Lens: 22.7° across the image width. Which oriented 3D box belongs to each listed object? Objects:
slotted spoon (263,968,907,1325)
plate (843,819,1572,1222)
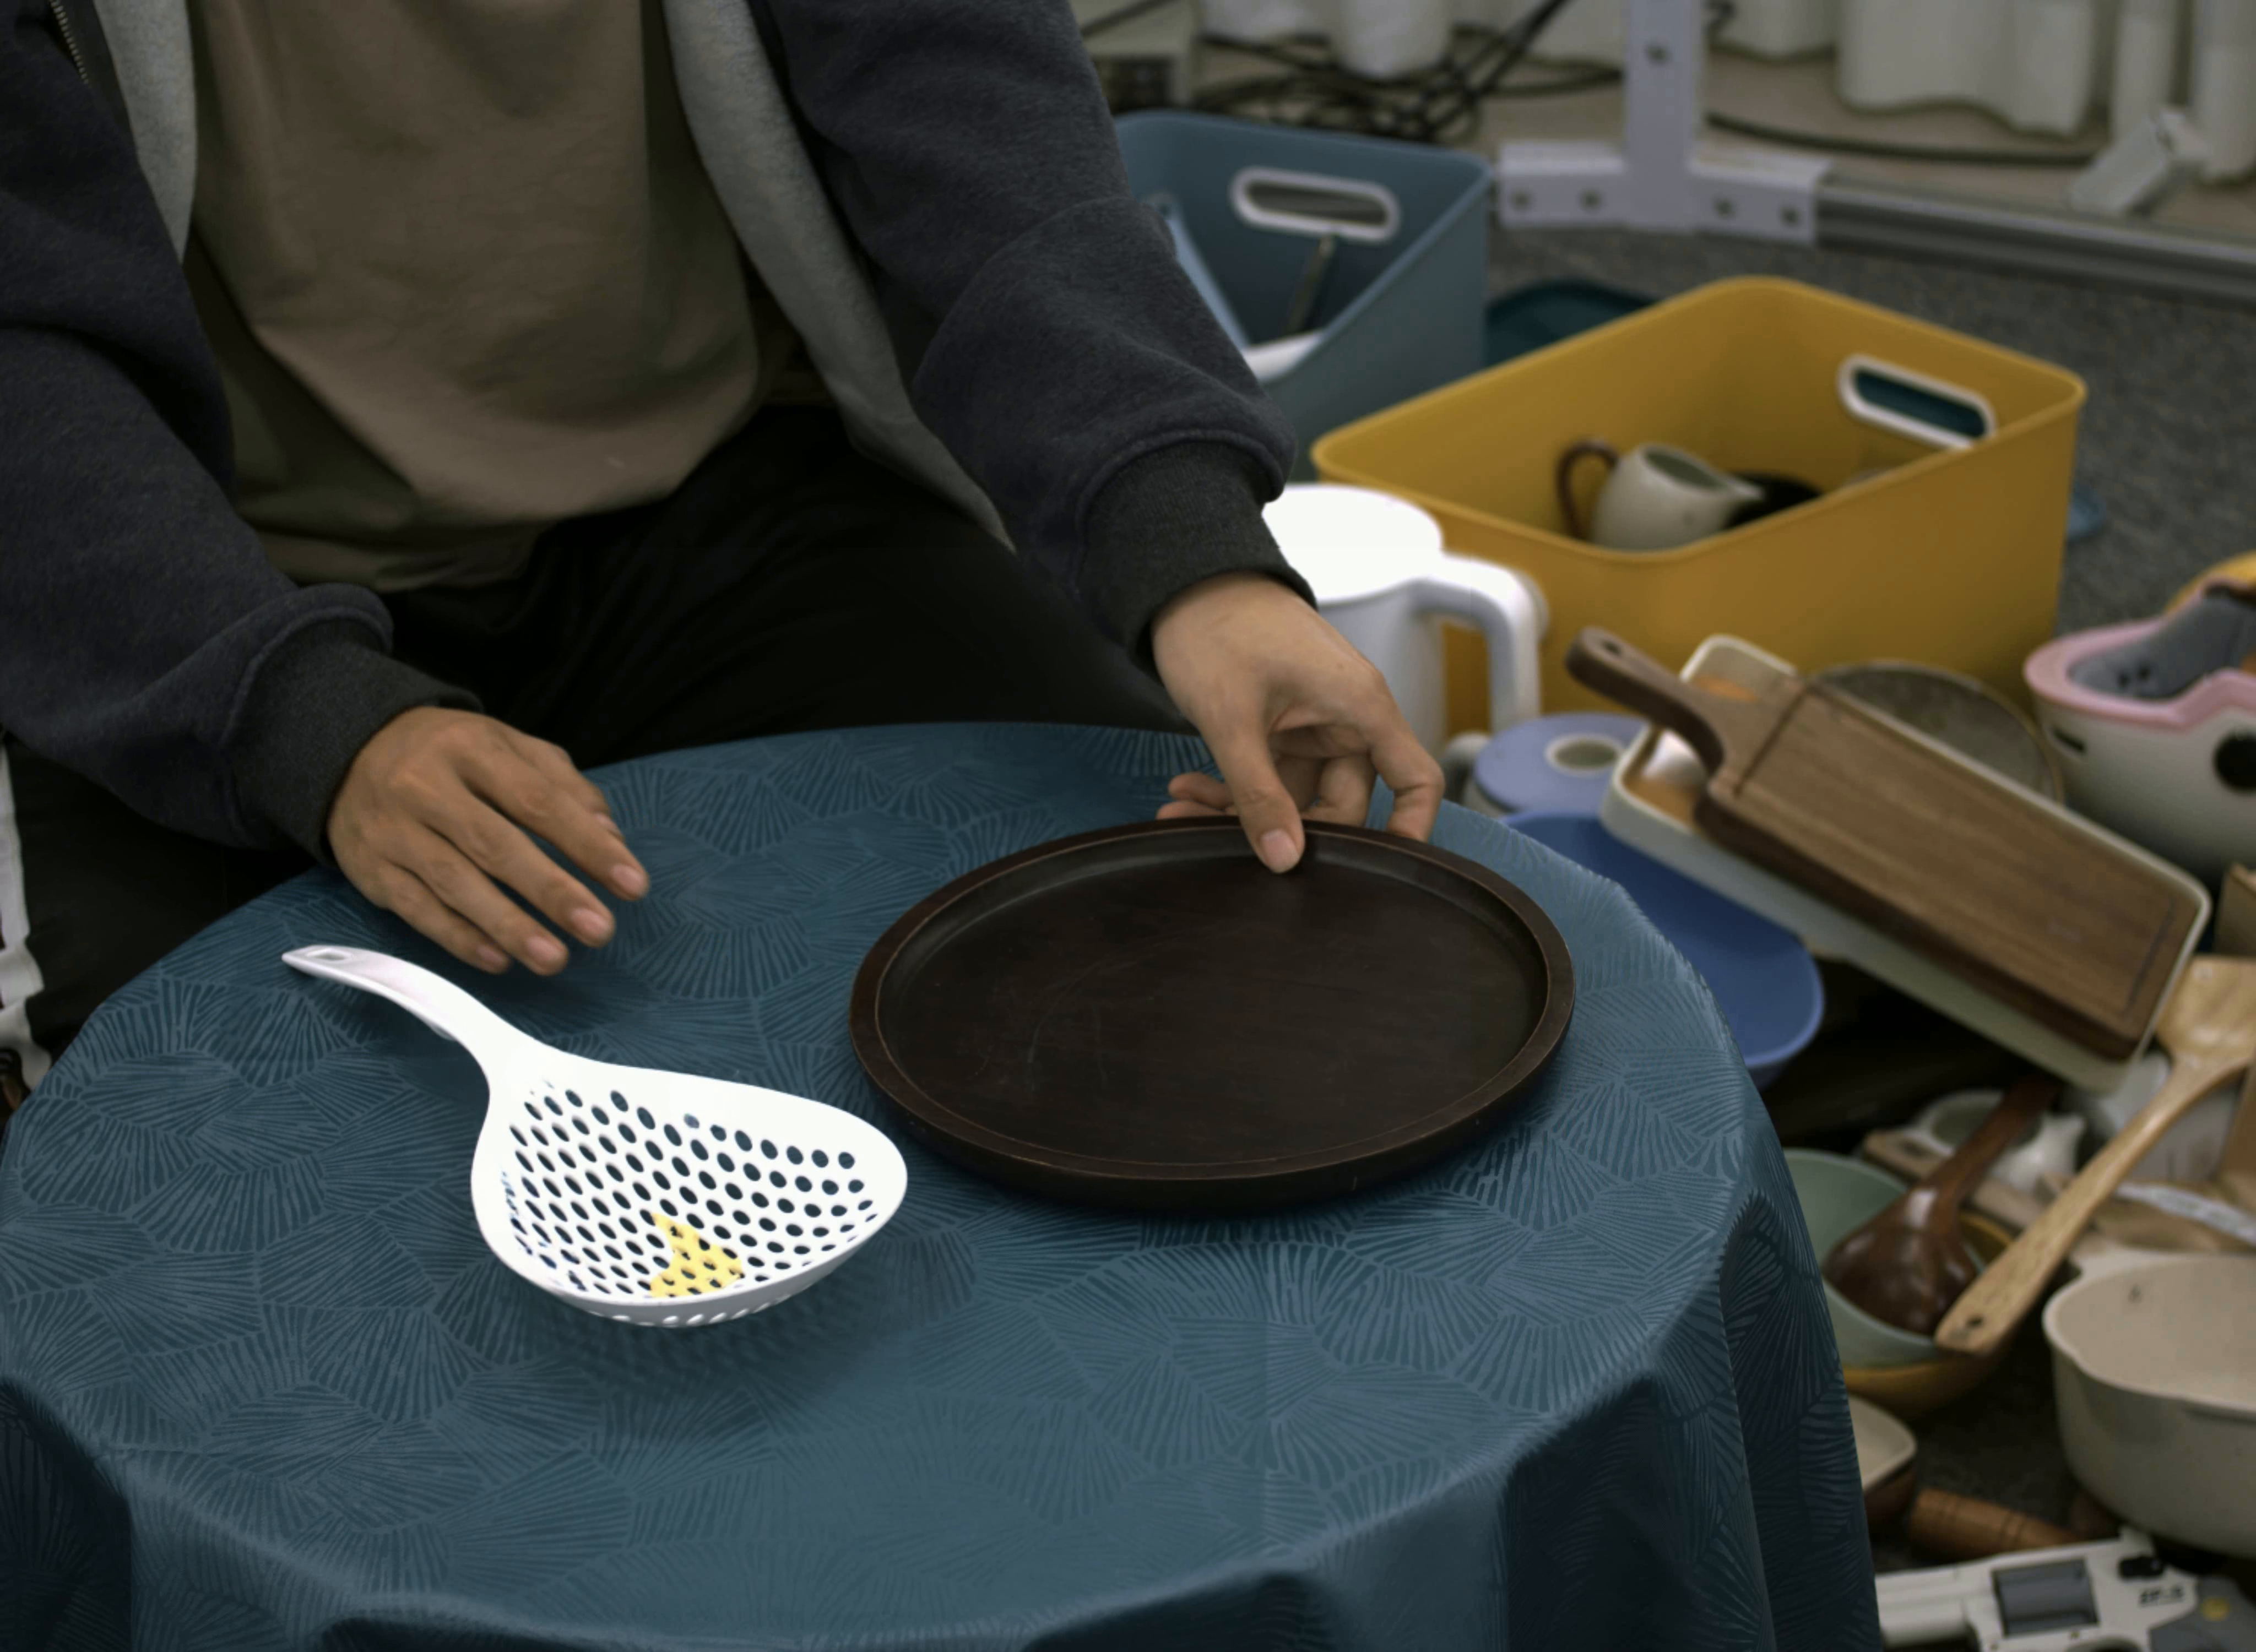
[{"bbox_3d":[-0.202,0.094,1.892,0.138,0.050,0.348,-22,33,-29],"label":"slotted spoon"},{"bbox_3d":[0.028,0.065,1.943,0.253,0.029,0.259,-3,28,2],"label":"plate"}]
